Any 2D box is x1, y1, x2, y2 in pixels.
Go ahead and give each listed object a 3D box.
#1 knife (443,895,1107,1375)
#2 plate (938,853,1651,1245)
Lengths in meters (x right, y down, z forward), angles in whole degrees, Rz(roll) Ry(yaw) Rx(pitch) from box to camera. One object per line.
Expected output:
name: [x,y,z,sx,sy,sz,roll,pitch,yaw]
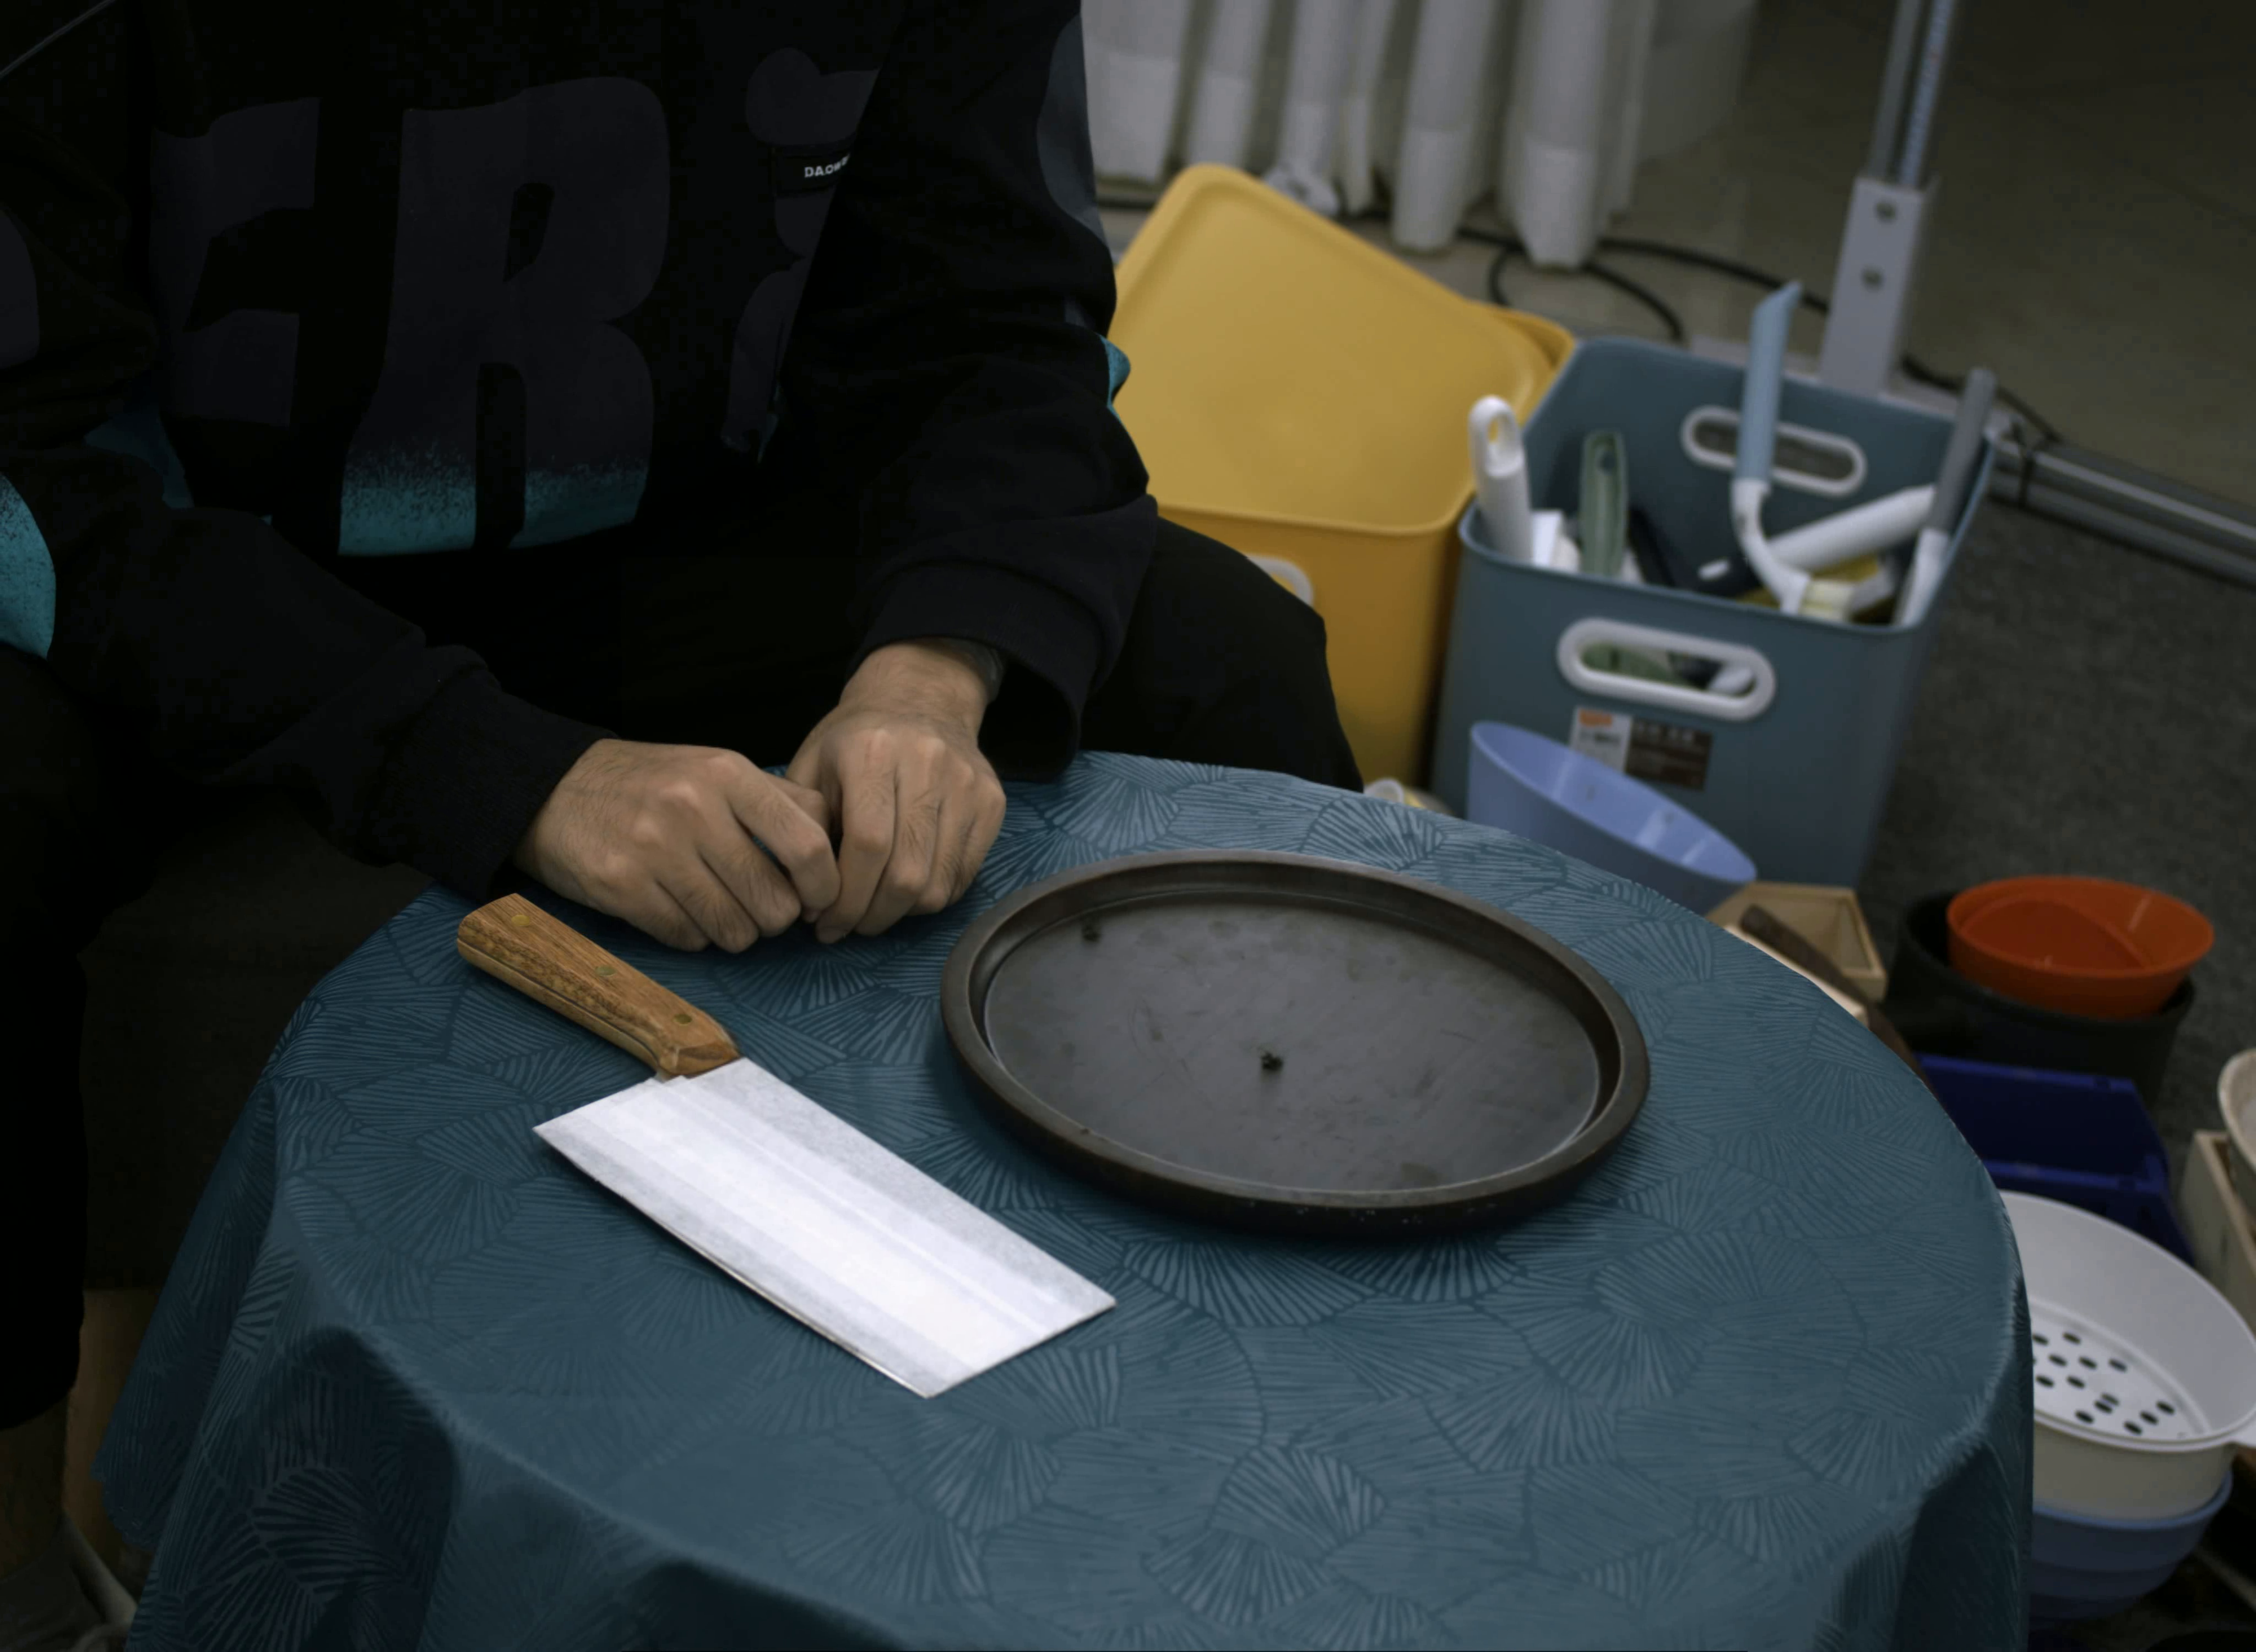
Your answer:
knife: [-0.142,0.104,1.792,0.308,0.021,0.092,30,37,34]
plate: [0.058,0.076,1.880,0.254,0.029,0.256,4,29,-3]
